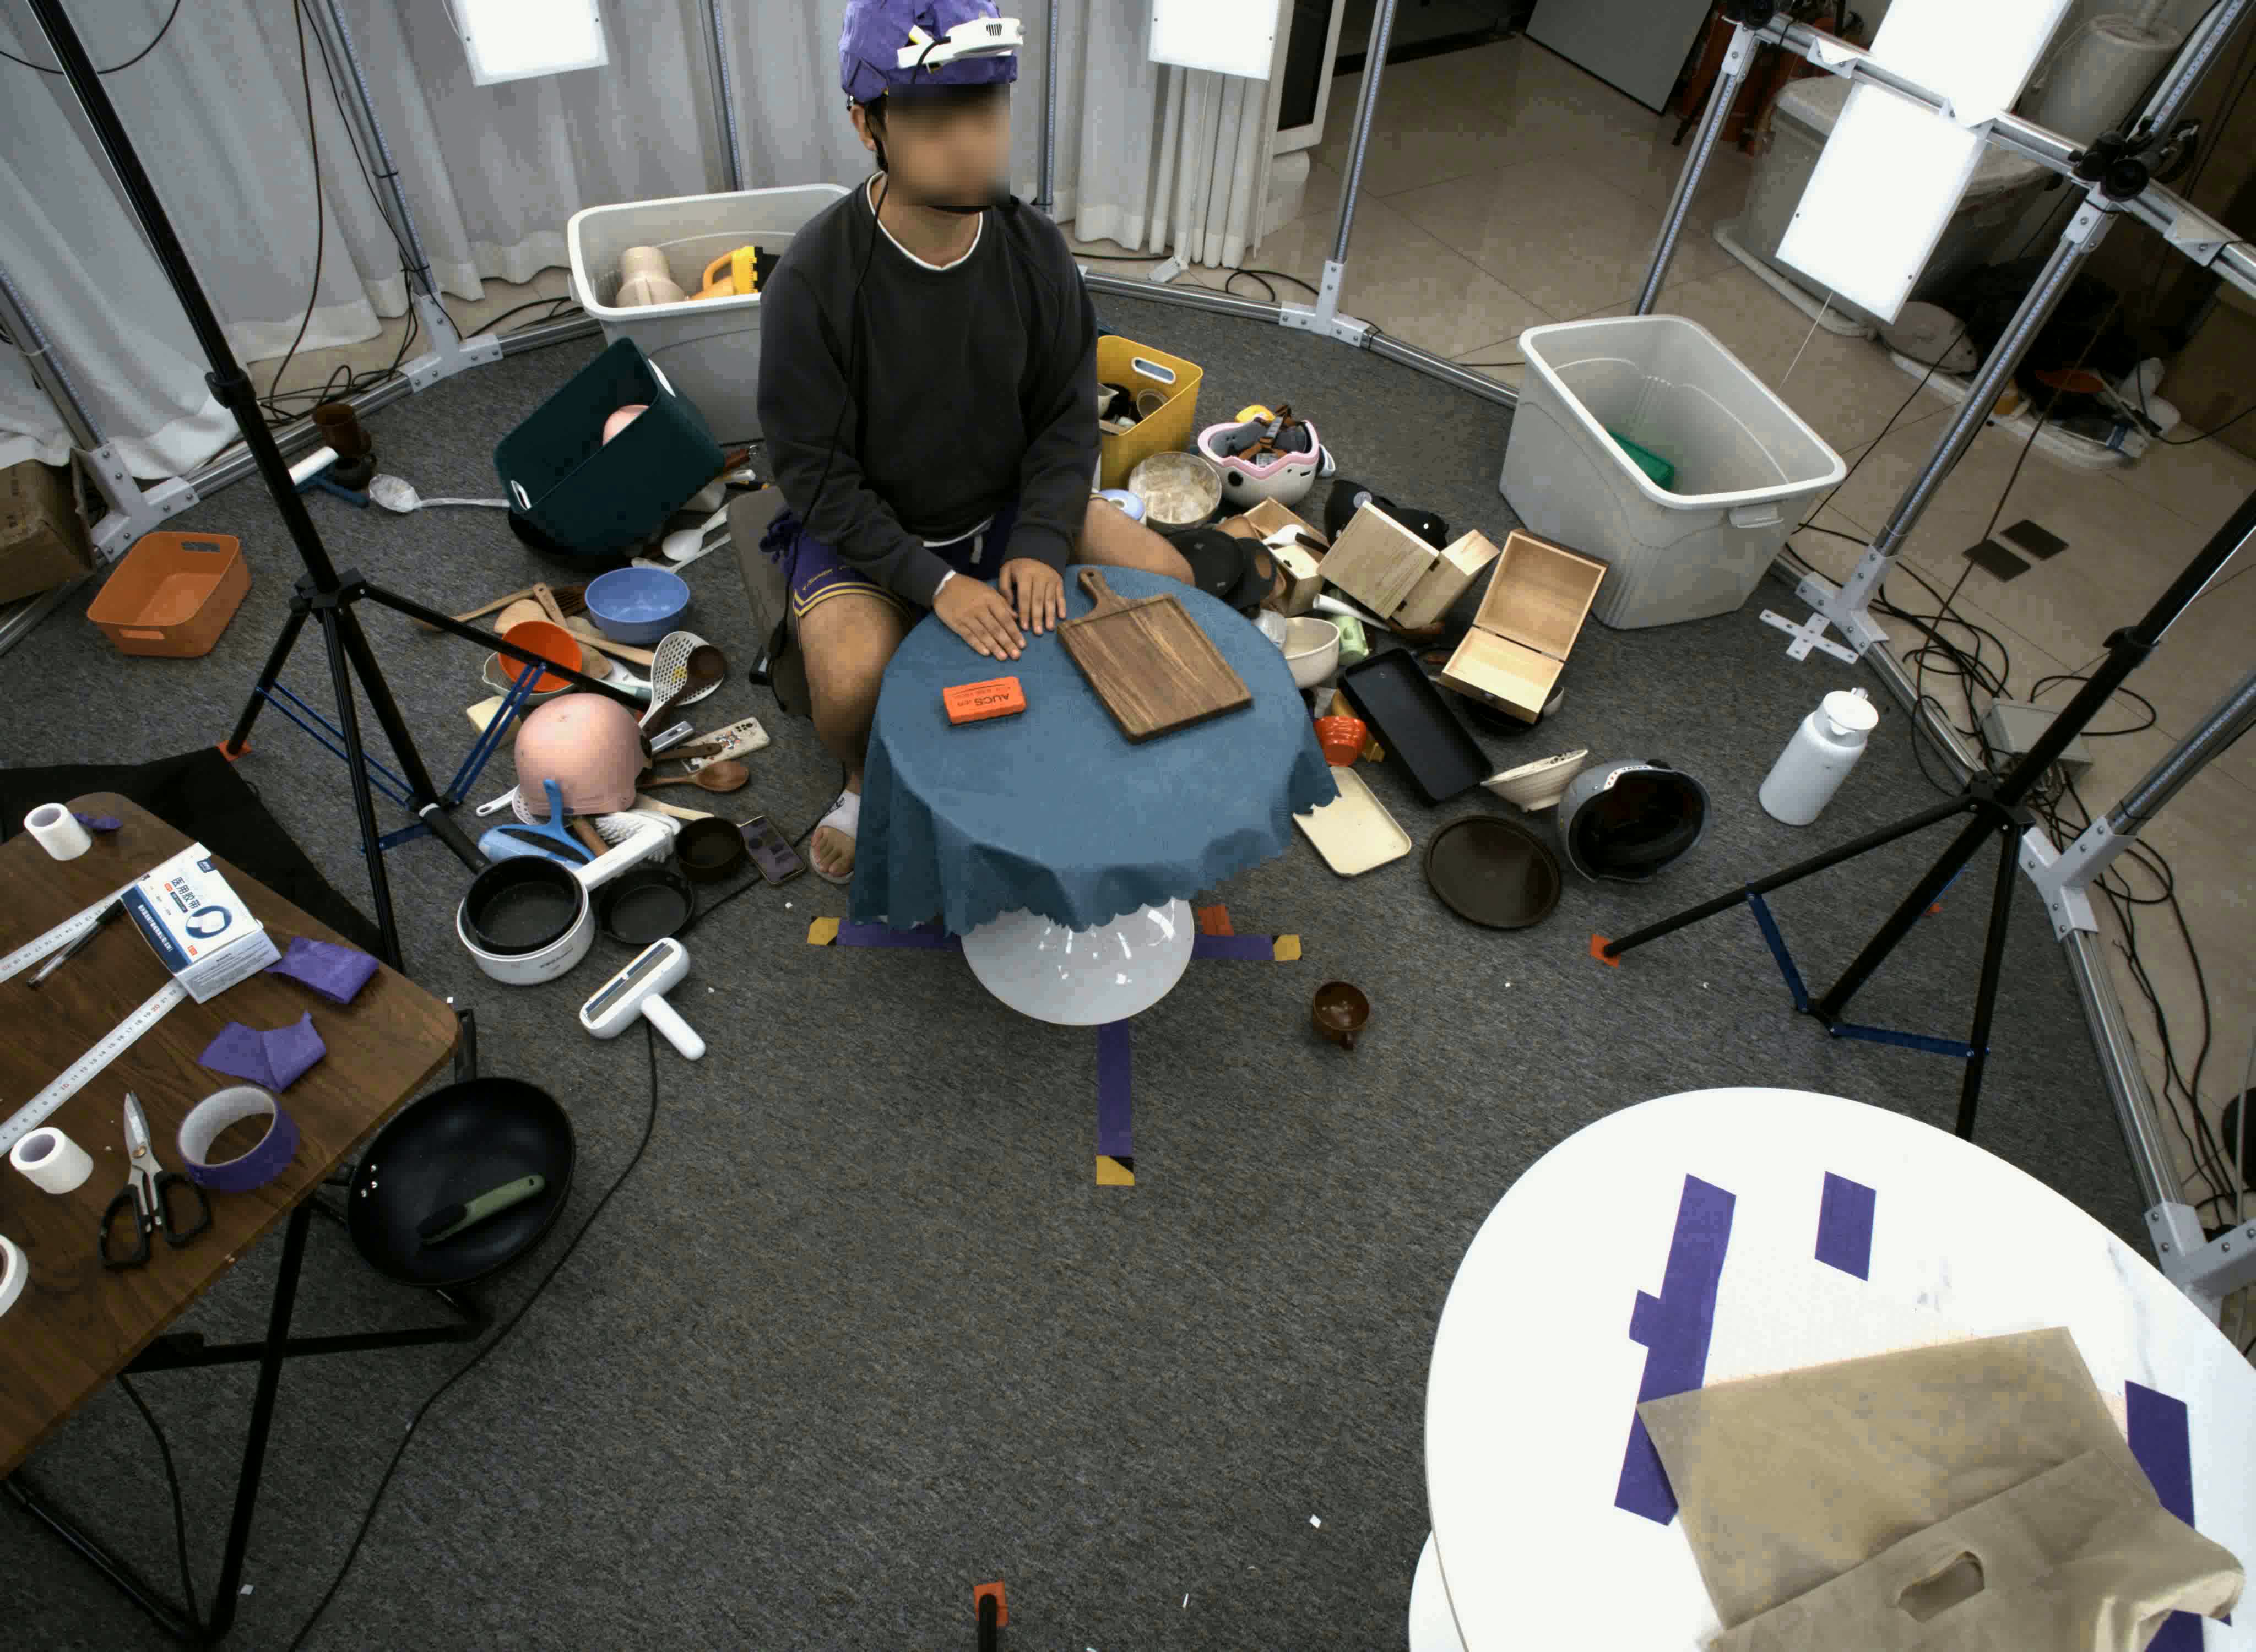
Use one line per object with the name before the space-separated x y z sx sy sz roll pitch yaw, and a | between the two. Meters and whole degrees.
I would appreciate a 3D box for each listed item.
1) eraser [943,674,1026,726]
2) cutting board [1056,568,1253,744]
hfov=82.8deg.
eraser | -0.199 -0.176 1.786 0.108 0.022 0.060 -13 52 -14
cutting board | 0.013 -0.269 1.888 0.201 0.022 0.360 -20 53 -19
